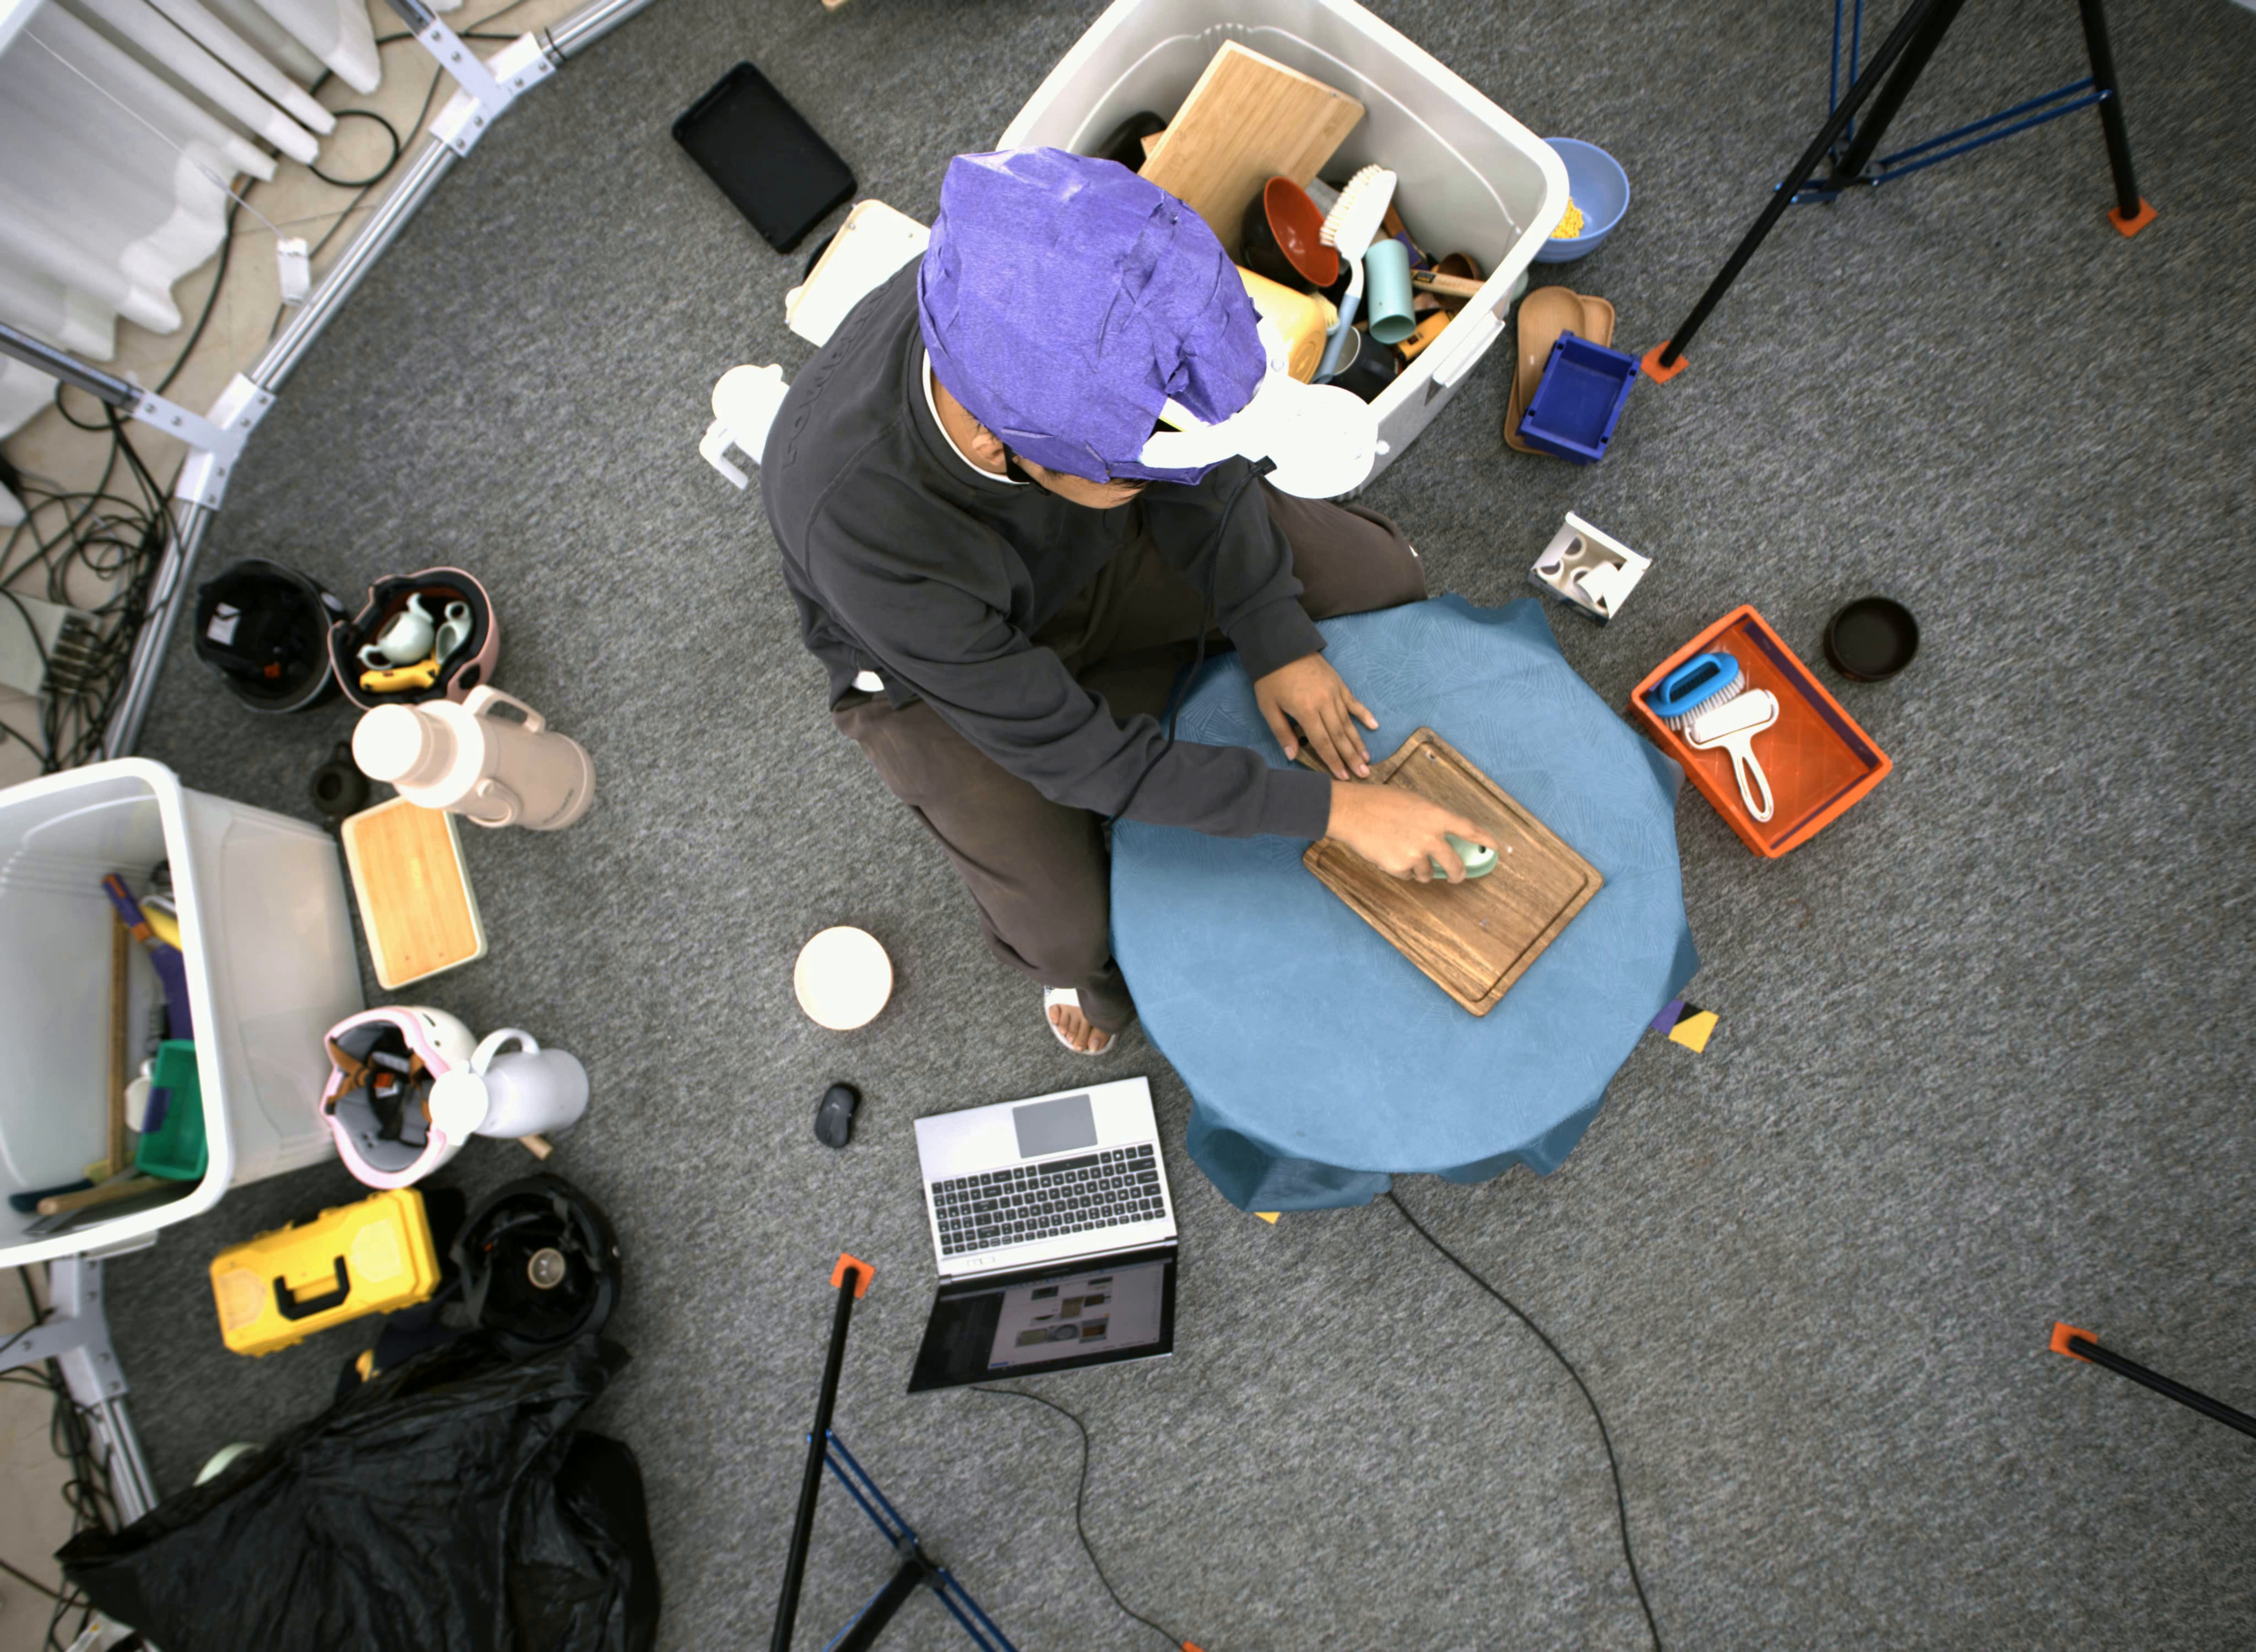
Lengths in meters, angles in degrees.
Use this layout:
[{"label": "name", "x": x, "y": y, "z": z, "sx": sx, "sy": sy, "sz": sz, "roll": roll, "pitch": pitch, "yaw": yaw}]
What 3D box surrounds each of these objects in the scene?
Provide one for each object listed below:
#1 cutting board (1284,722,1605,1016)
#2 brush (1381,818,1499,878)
[{"label": "cutting board", "x": 0.303, "y": 0.010, "z": 1.448, "sx": 0.350, "sy": 0.023, "sz": 0.202, "roll": 43, "pitch": 94, "yaw": 11}, {"label": "brush", "x": 0.322, "y": 0.020, "z": 1.414, "sx": 0.124, "sy": 0.076, "sz": 0.059, "roll": 2, "pitch": 82, "yaw": 27}]
